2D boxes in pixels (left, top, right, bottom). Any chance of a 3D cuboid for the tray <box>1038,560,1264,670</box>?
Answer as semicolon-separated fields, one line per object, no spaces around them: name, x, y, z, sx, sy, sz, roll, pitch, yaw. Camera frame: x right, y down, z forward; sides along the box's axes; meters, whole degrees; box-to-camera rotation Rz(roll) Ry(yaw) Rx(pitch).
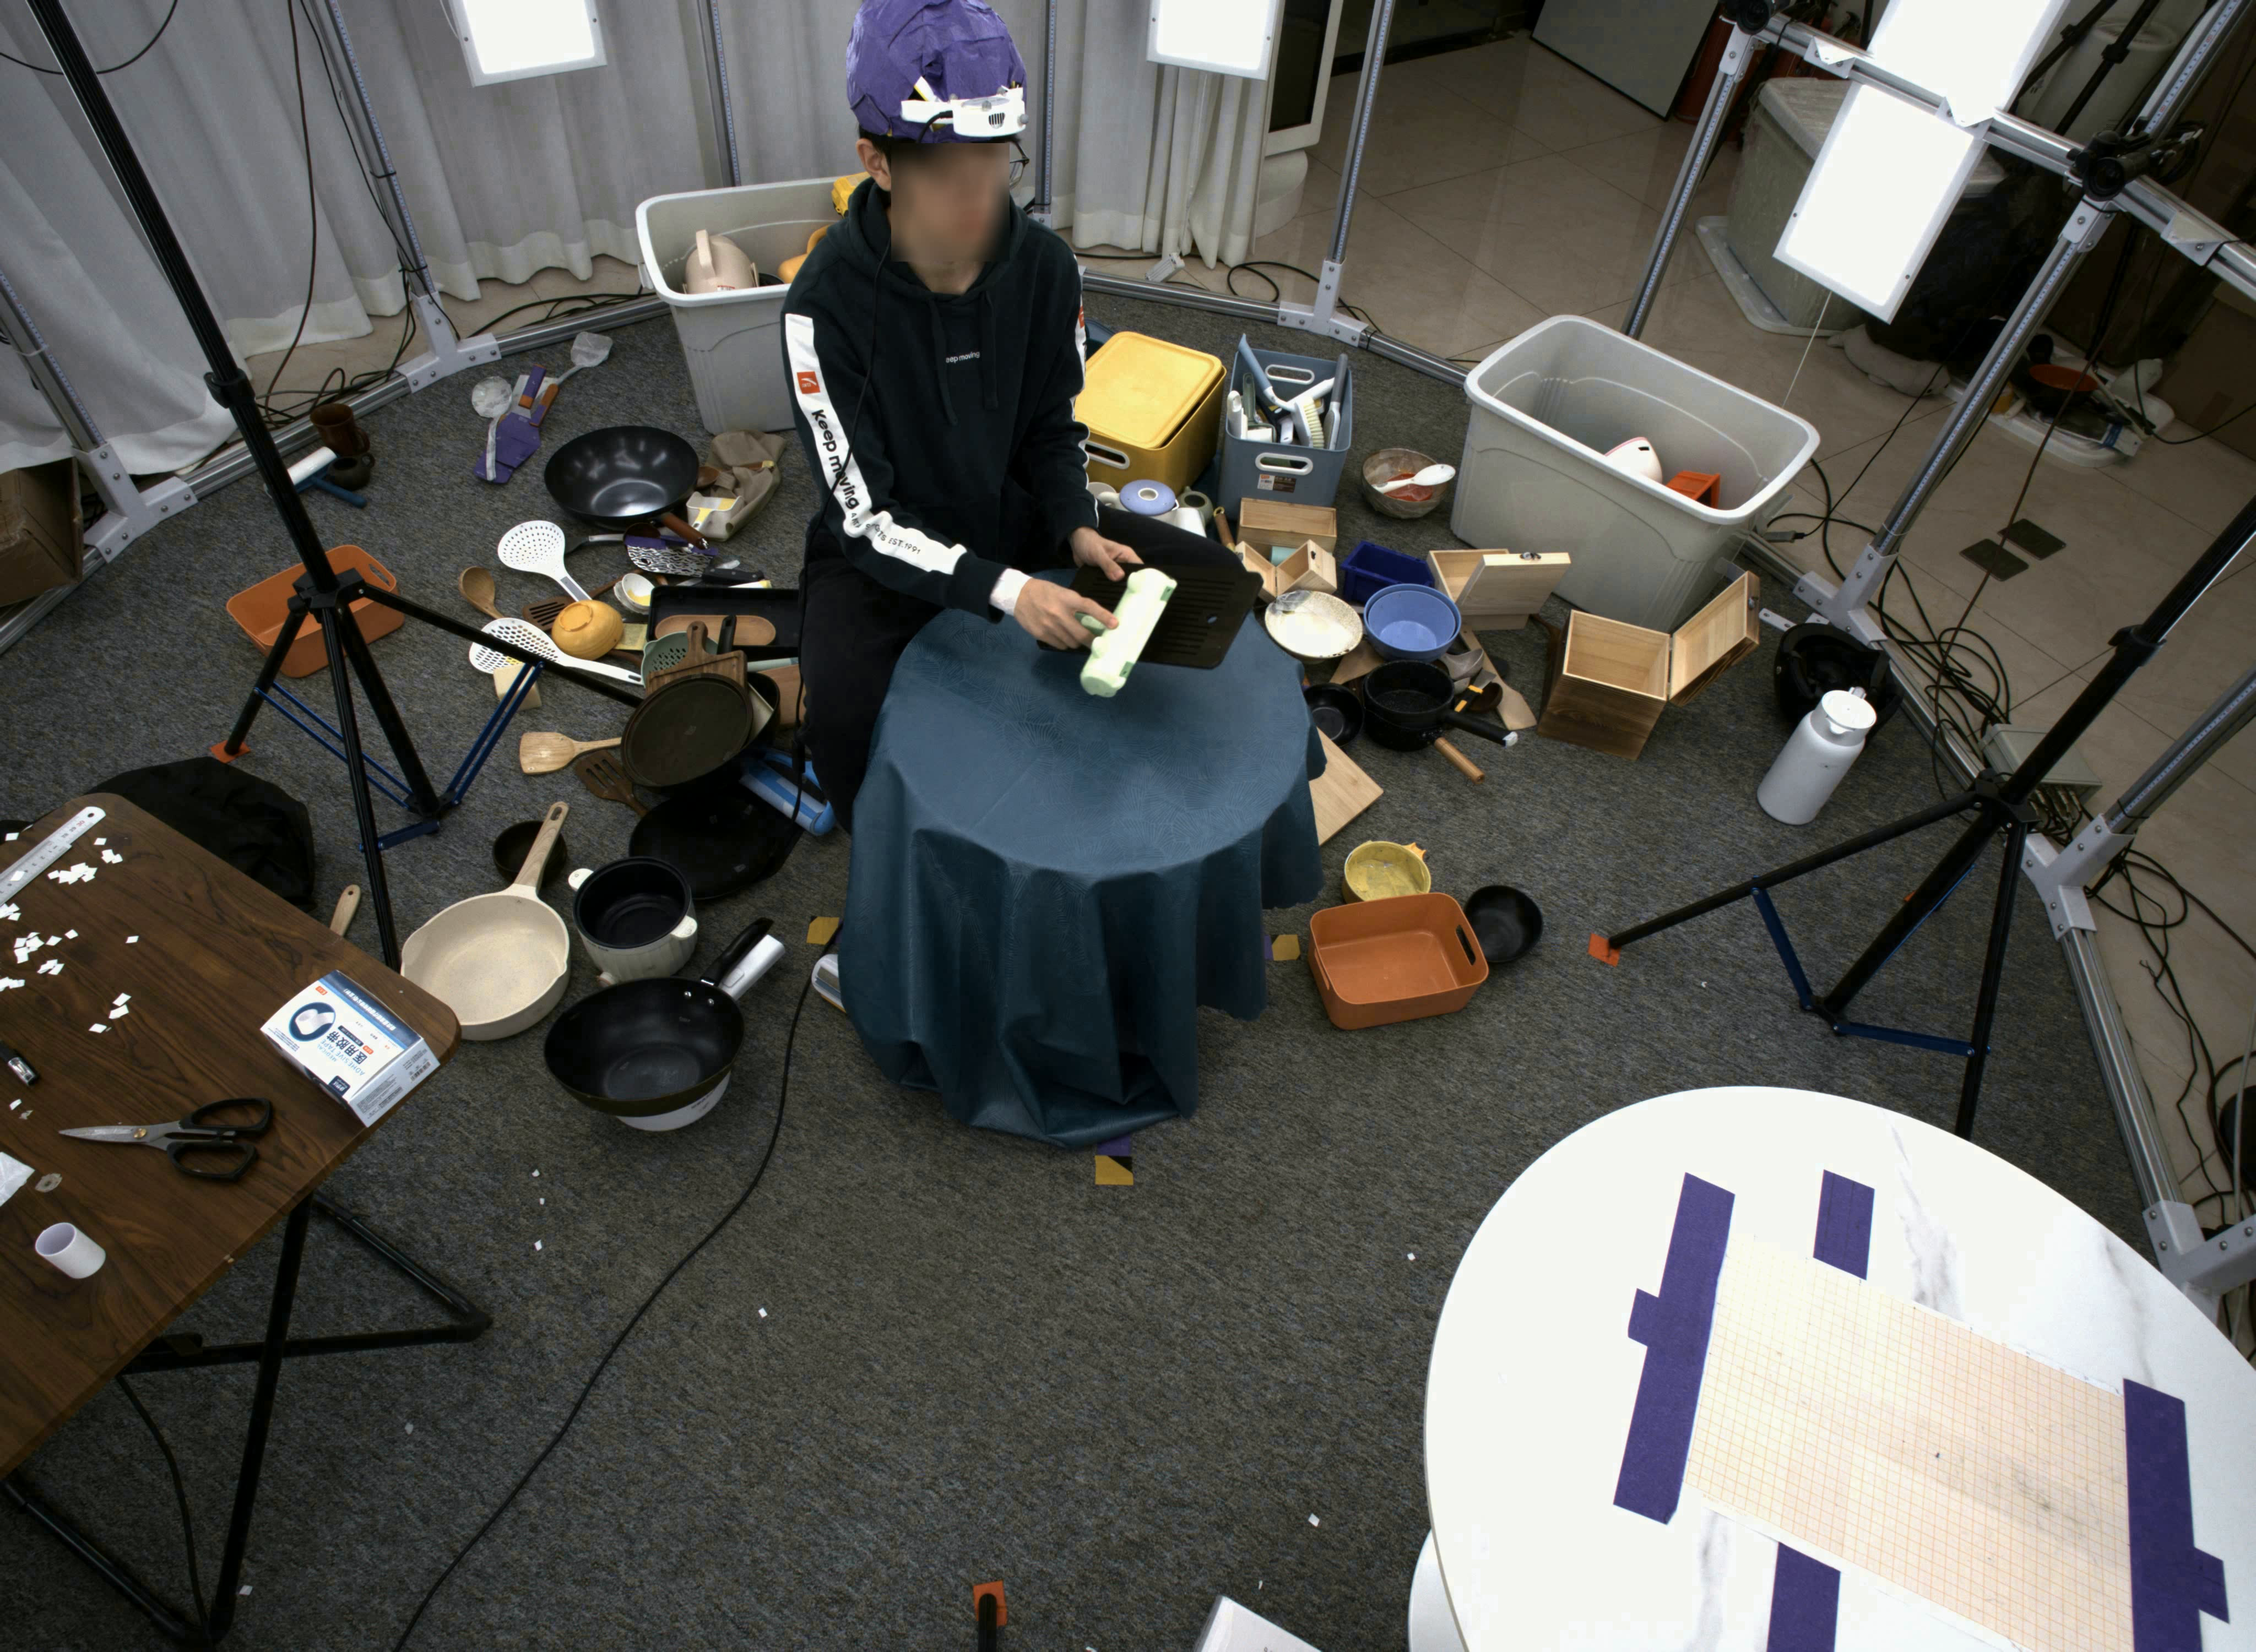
tray;0.029;-0.297;1.798;0.308;0.018;0.172;12;61;34

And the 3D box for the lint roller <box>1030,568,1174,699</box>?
lint roller;-0.056;-0.277;1.723;0.184;0.080;0.202;17;62;20
